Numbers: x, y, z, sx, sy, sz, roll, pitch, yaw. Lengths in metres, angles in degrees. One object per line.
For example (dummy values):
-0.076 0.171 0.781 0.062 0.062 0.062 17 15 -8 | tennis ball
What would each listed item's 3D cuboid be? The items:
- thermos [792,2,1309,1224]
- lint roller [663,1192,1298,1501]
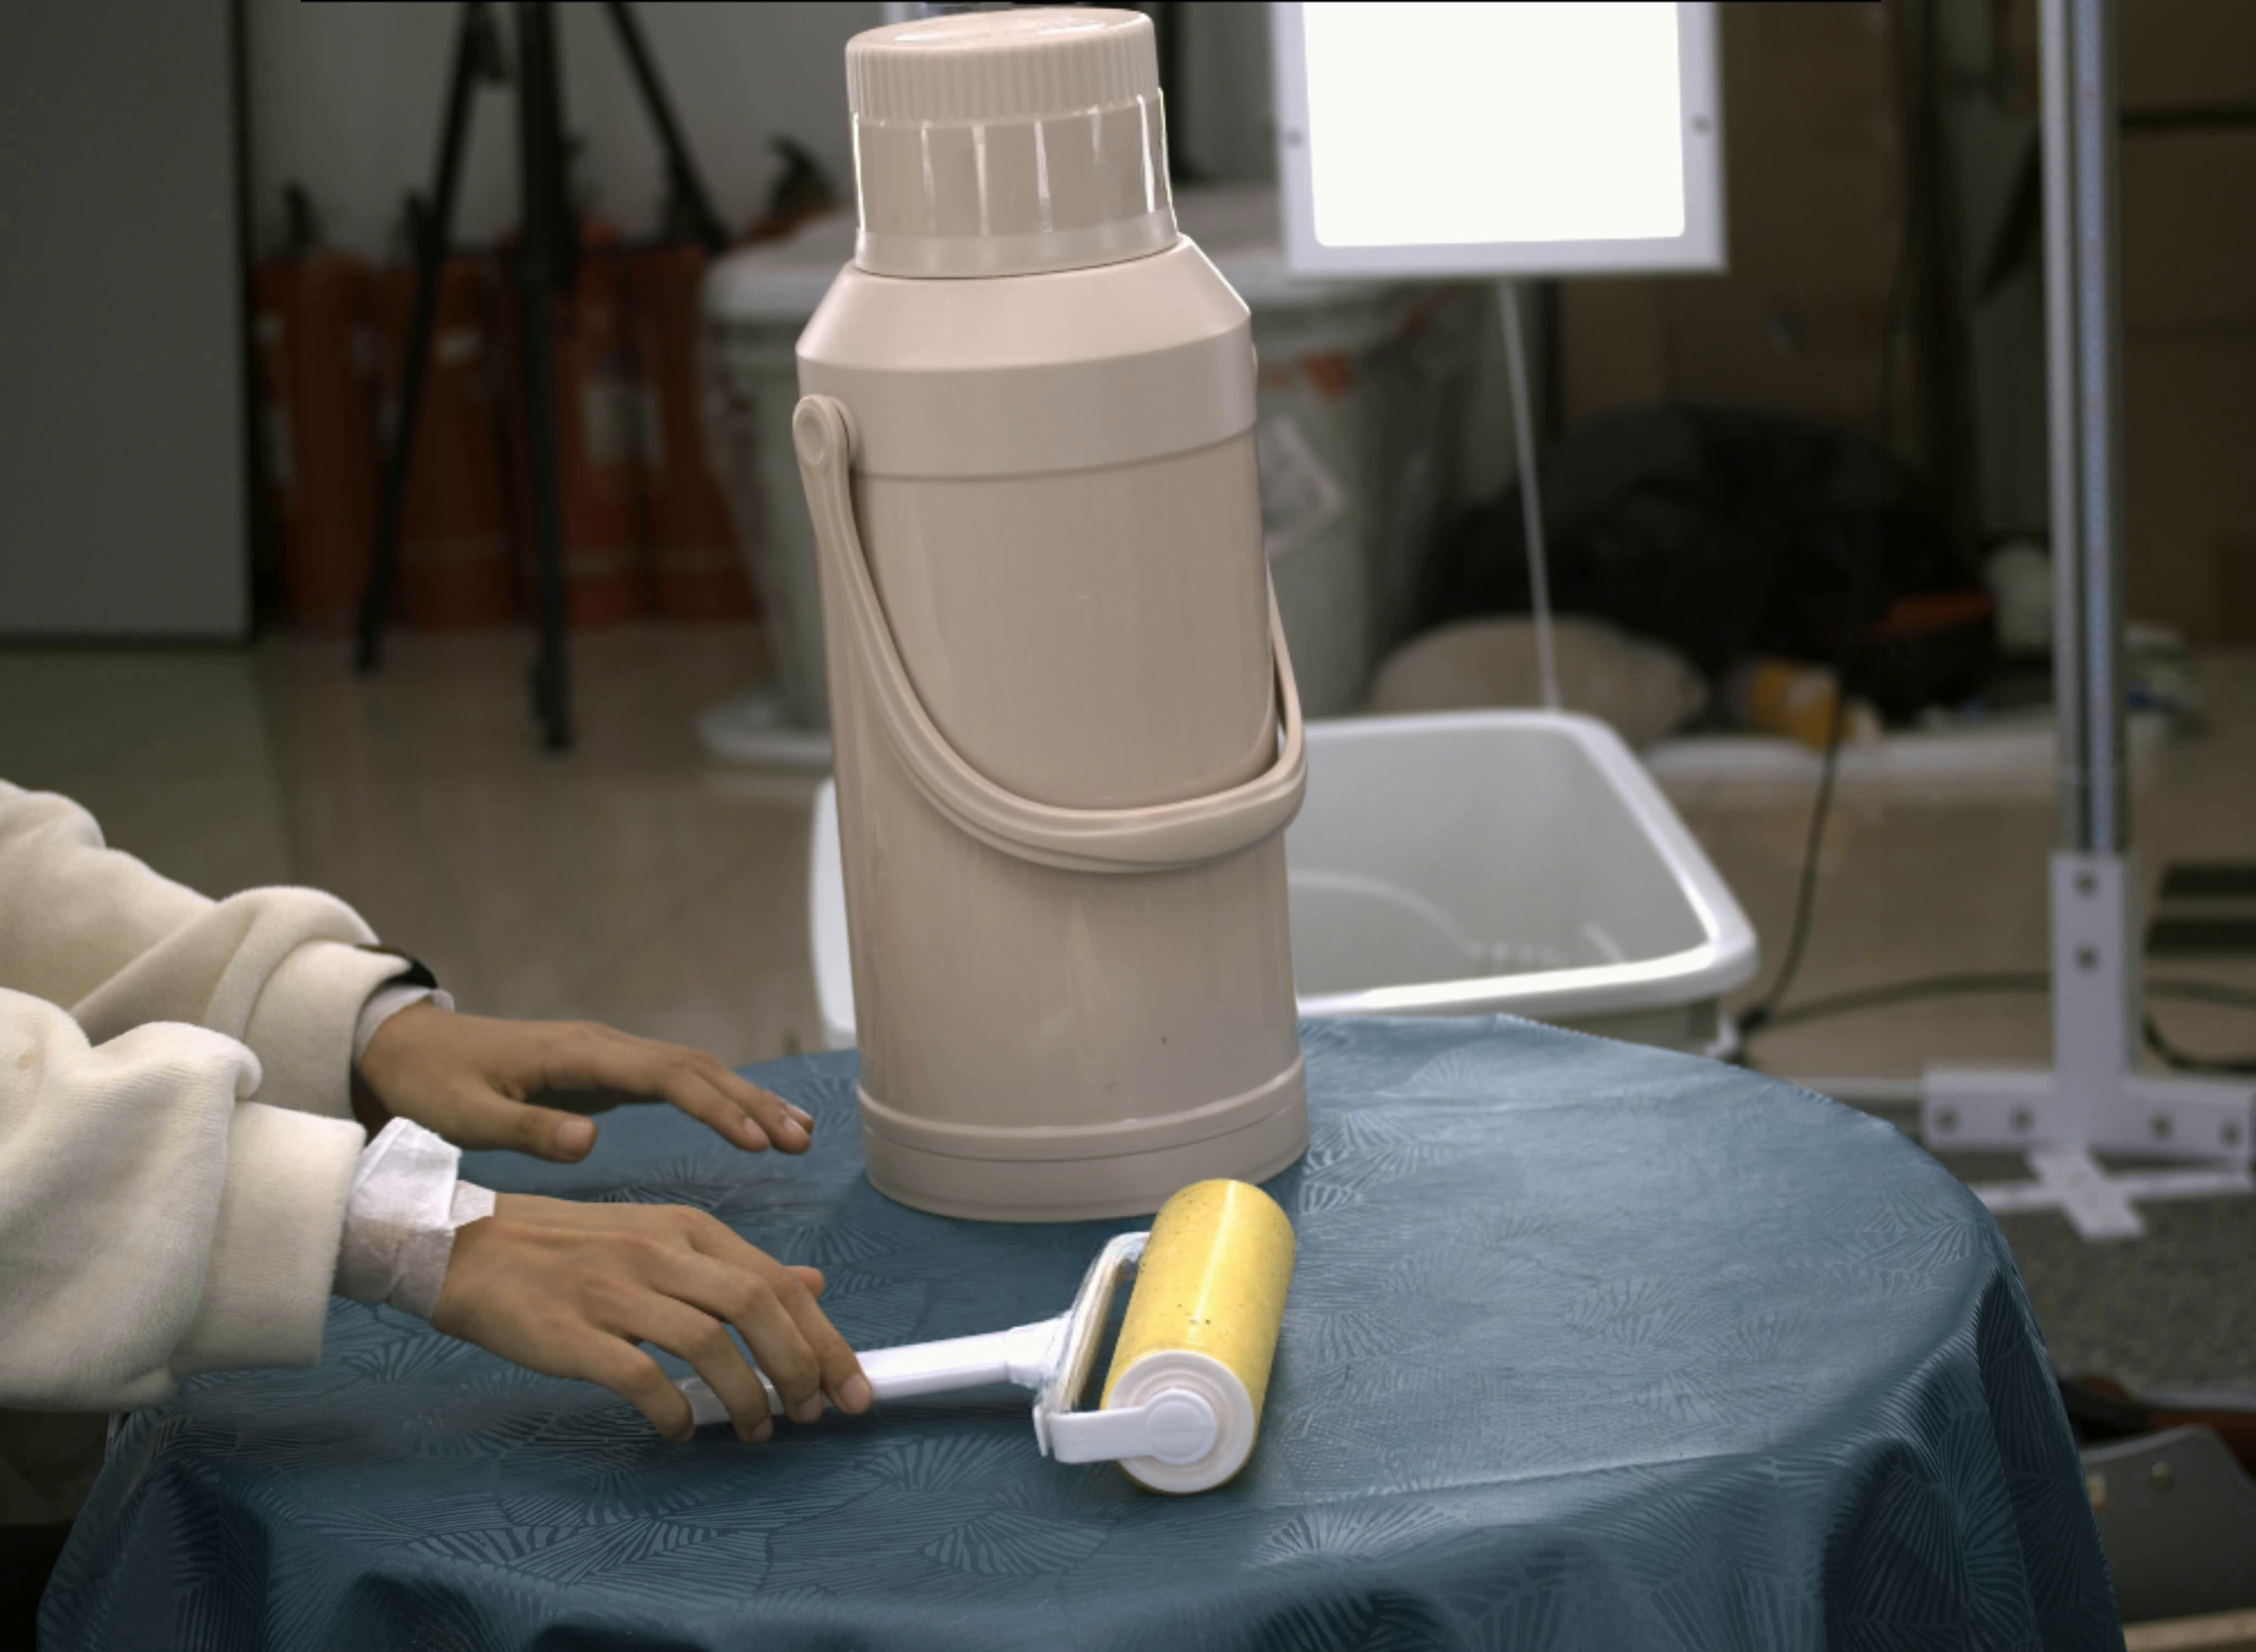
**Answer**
-0.035 -0.077 1.909 0.171 0.408 0.211 -14 16 -31 | thermos
-0.047 0.155 1.687 0.192 0.051 0.173 3 14 6 | lint roller
